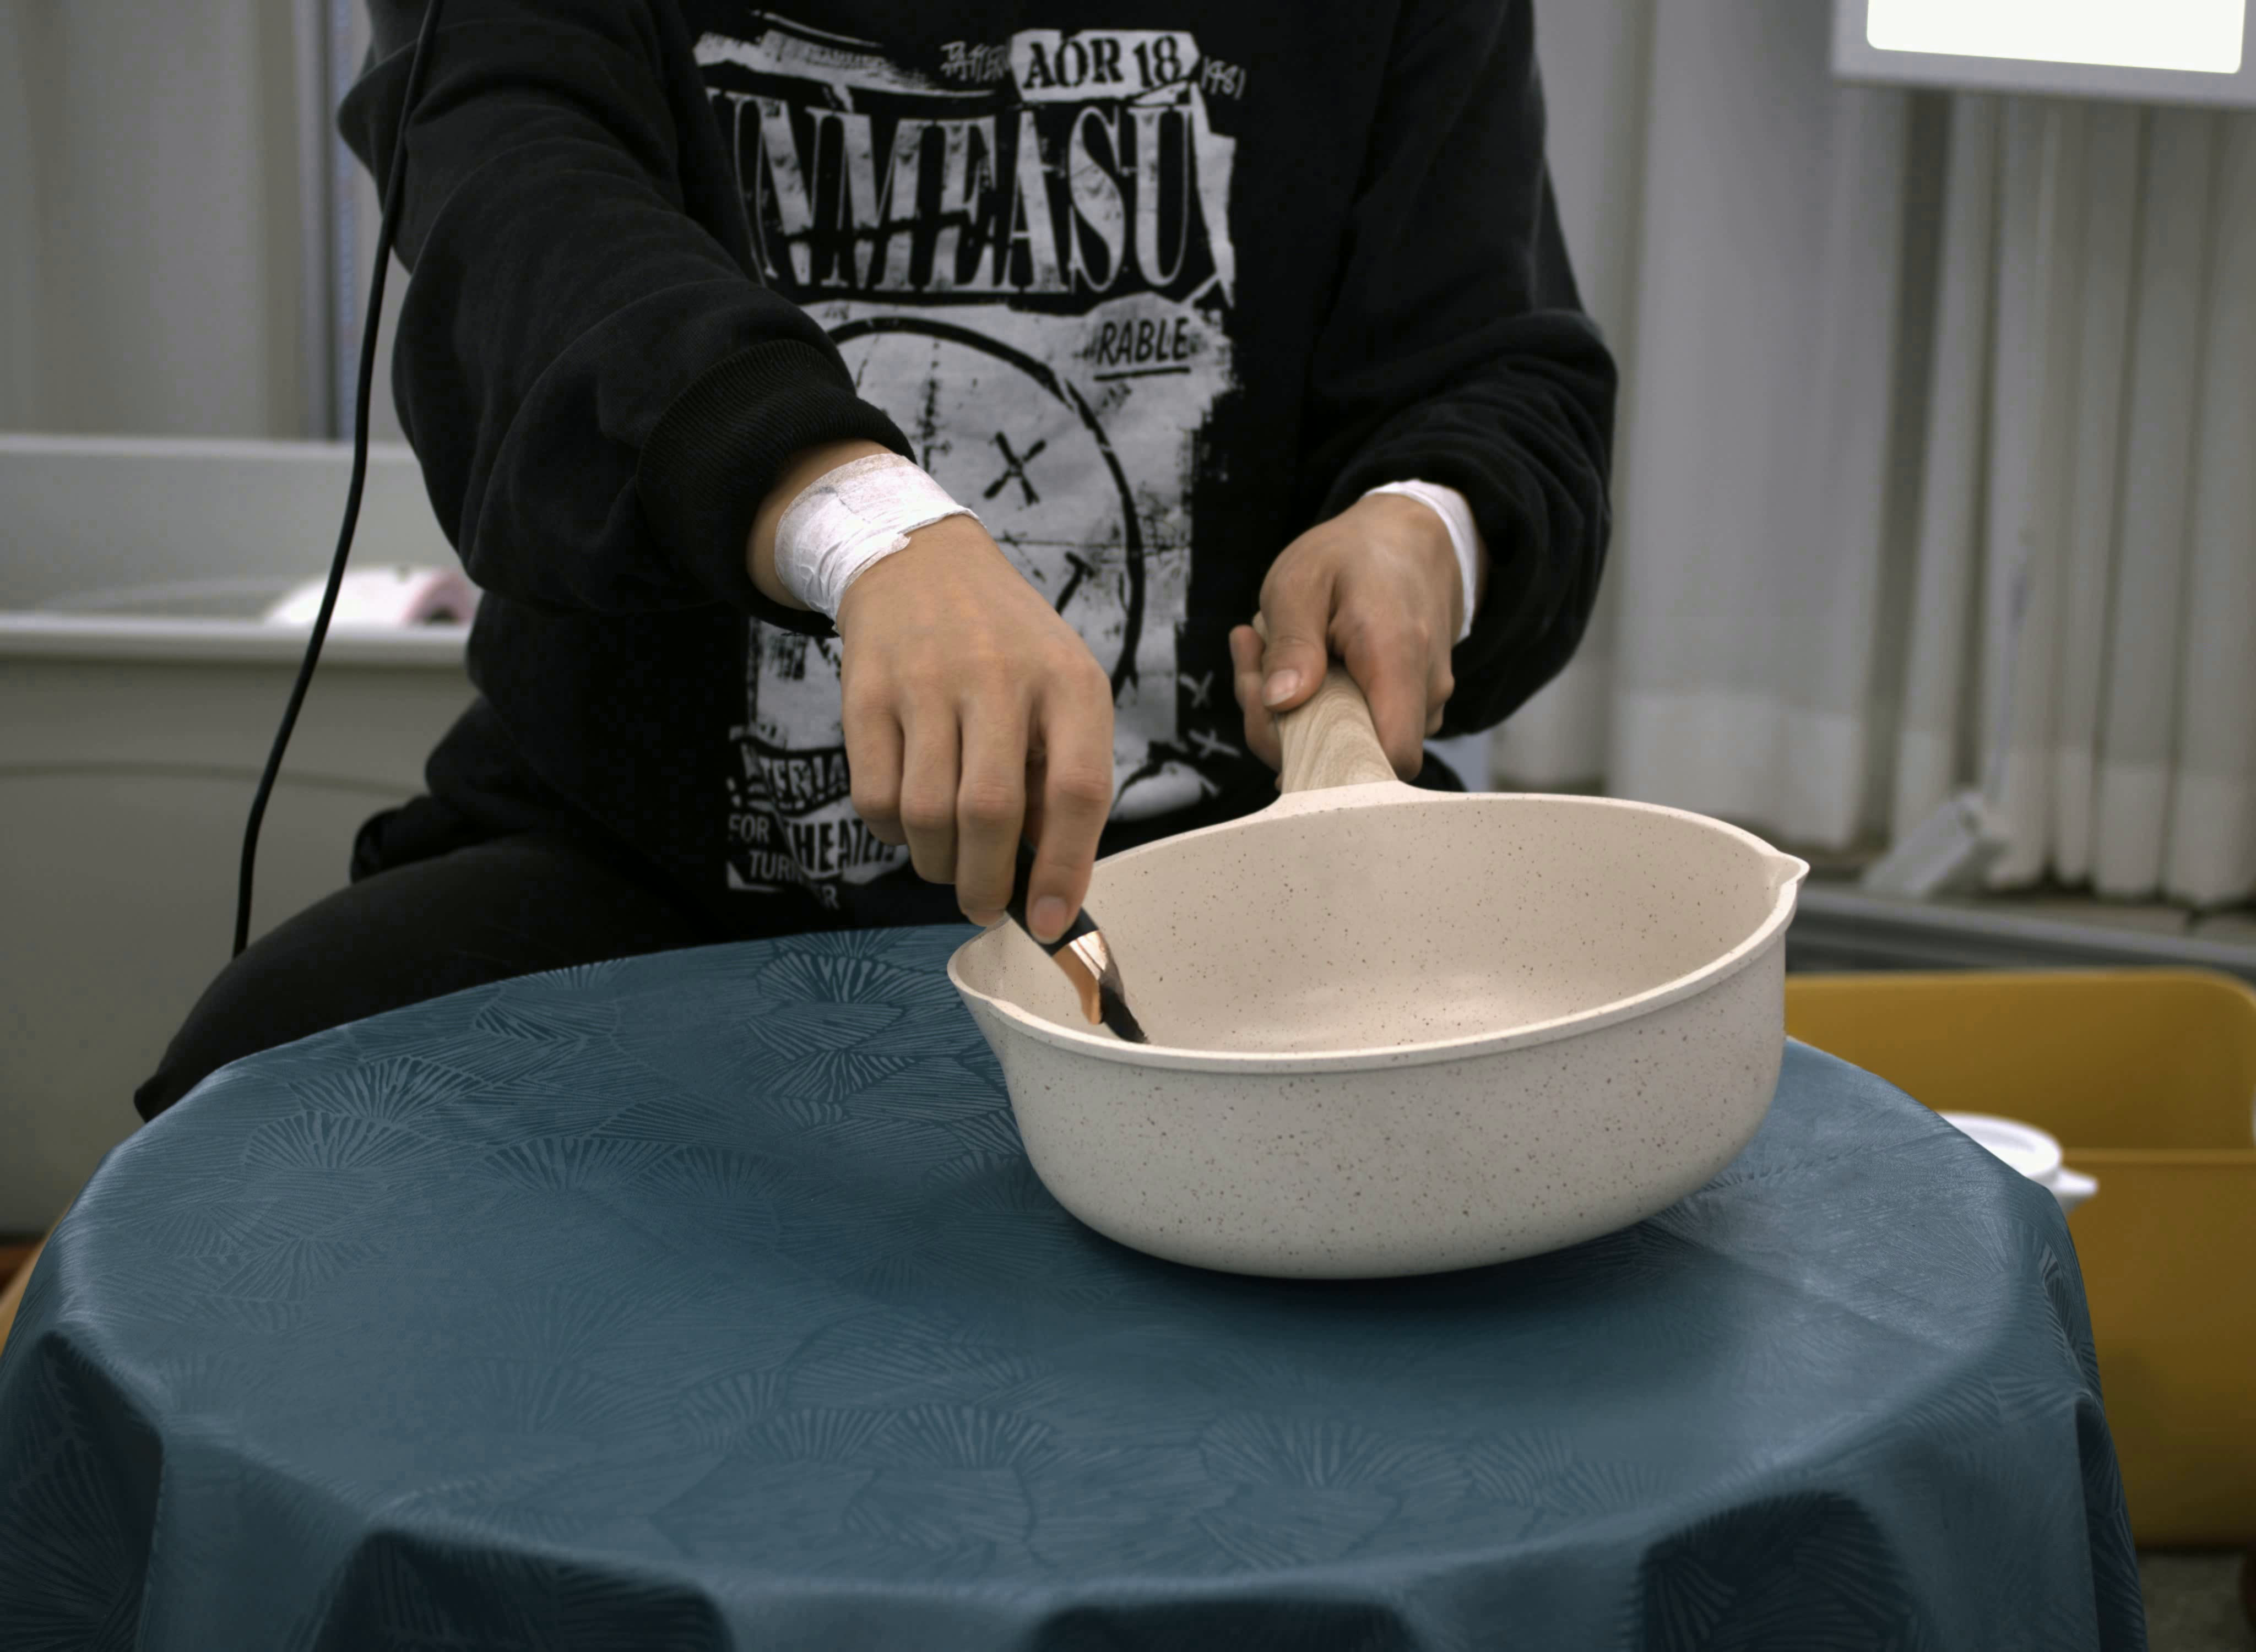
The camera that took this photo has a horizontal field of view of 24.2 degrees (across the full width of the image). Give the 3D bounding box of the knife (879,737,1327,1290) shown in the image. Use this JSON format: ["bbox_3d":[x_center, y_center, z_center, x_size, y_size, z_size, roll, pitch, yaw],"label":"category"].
[{"bbox_3d":[-0.007,0.054,1.570,0.017,0.026,0.223,-10,51,-48],"label":"knife"}]

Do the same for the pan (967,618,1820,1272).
[{"bbox_3d":[0.079,0.032,1.690,0.263,0.103,0.432,-9,16,-2],"label":"pan"}]
